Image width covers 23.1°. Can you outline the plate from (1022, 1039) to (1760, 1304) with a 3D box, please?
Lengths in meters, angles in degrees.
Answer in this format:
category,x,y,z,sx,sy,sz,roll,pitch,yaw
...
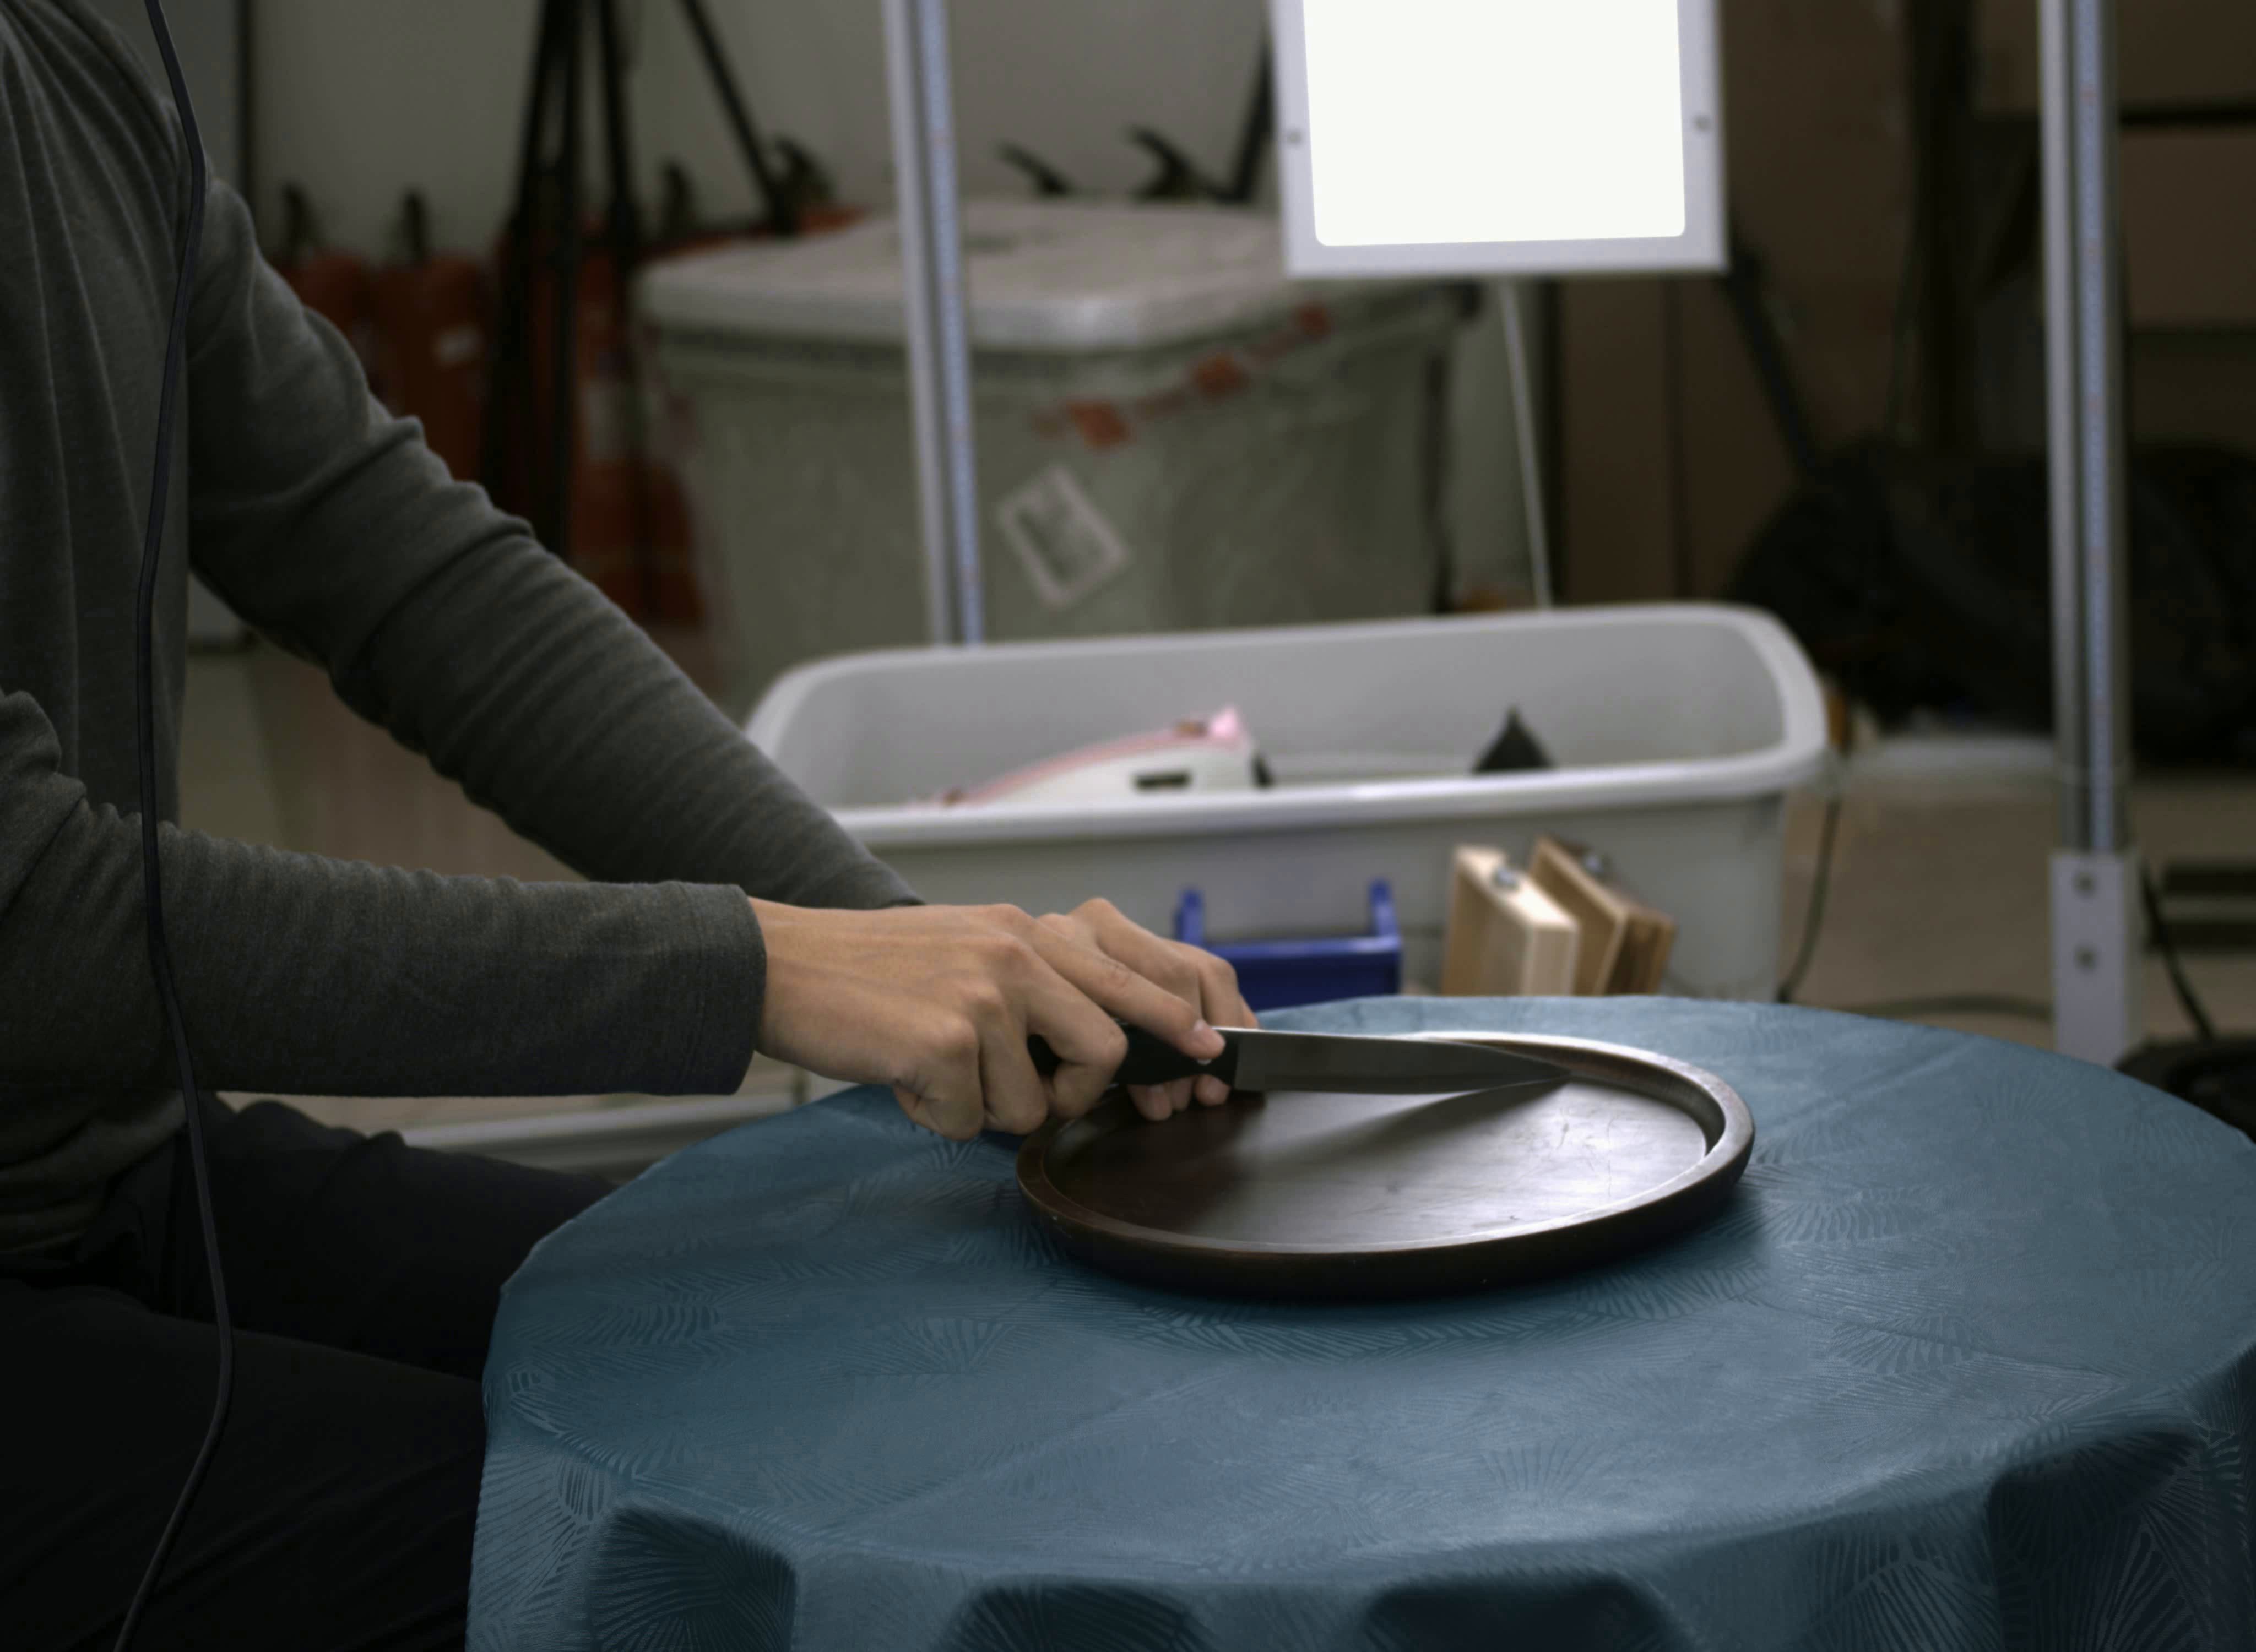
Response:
category,x,y,z,sx,sy,sz,roll,pitch,yaw
plate,0.089,0.115,1.871,0.254,0.029,0.254,-4,13,0

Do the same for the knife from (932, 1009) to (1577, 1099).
category,x,y,z,sx,sy,sz,roll,pitch,yaw
knife,0.047,0.079,1.917,0.235,0.024,0.016,4,7,-15
